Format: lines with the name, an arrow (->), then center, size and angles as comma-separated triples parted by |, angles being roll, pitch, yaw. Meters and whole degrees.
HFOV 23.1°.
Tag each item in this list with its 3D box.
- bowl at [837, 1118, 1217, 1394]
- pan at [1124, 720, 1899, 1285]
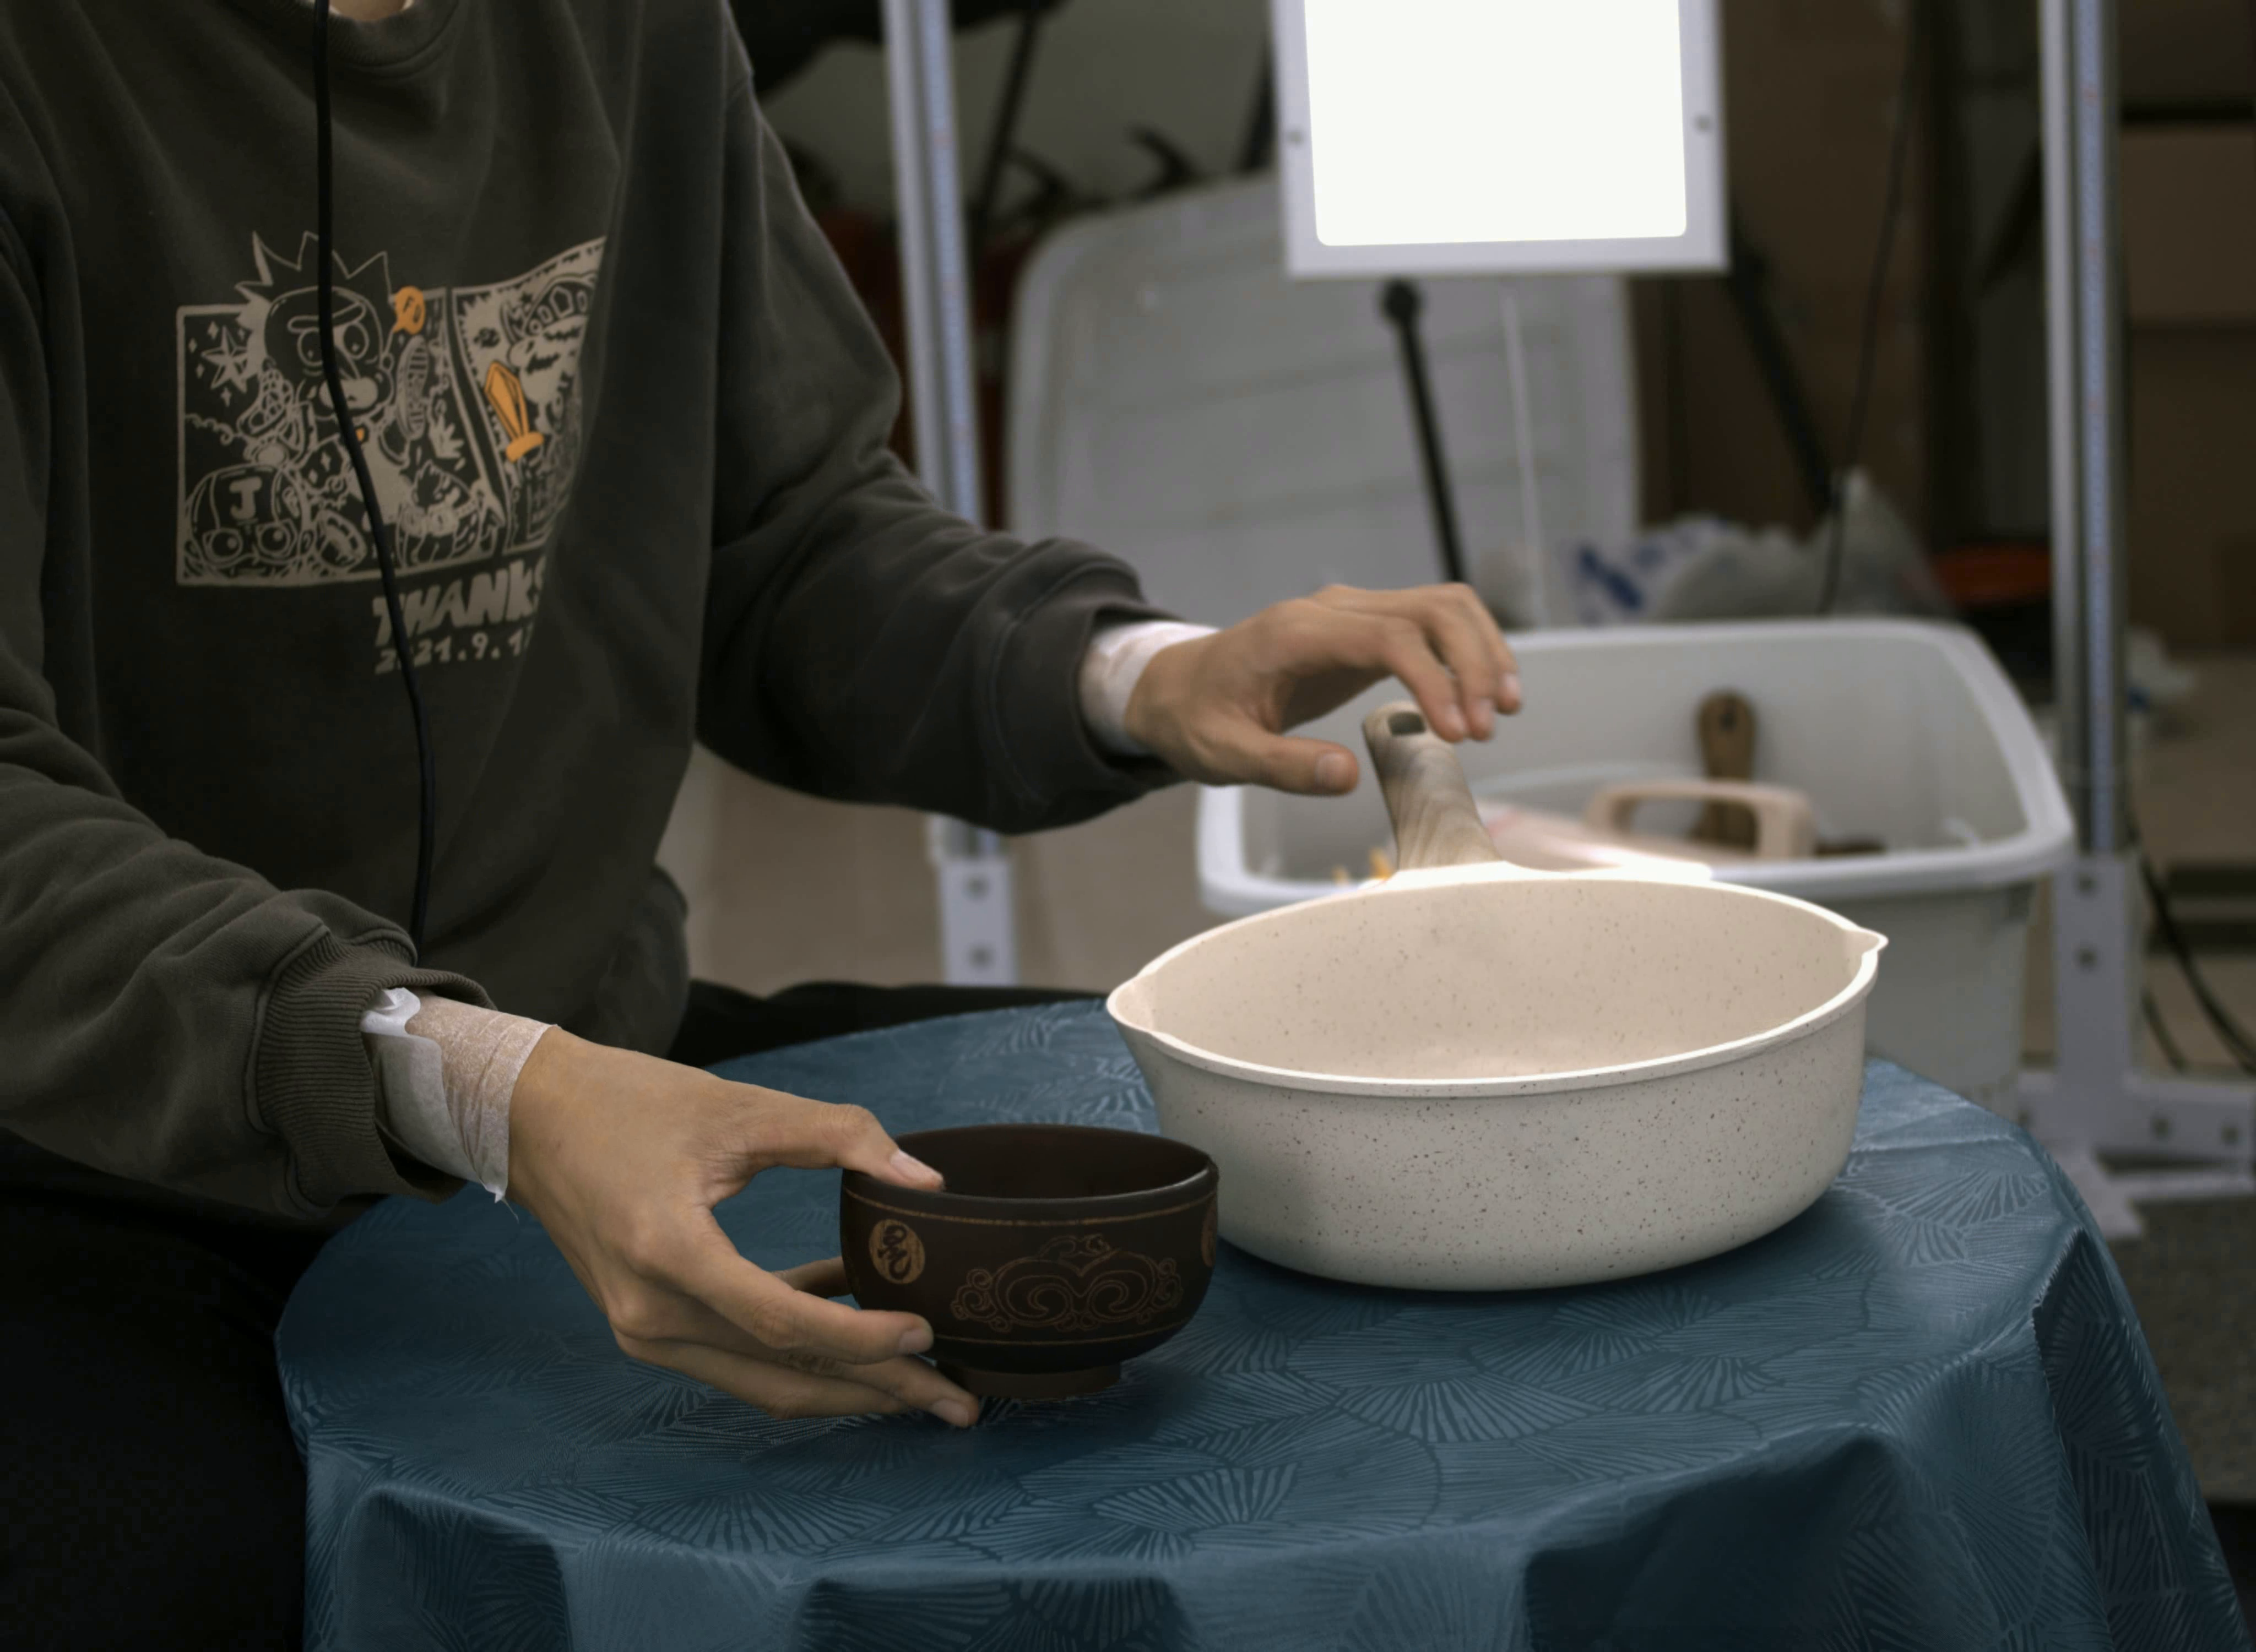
bowl -> -0.031, 0.134, 1.694 | 0.117, 0.070, 0.118 | -1, 8, -1
pan -> 0.126, 0.057, 1.926 | 0.262, 0.102, 0.435 | -7, 14, -1
